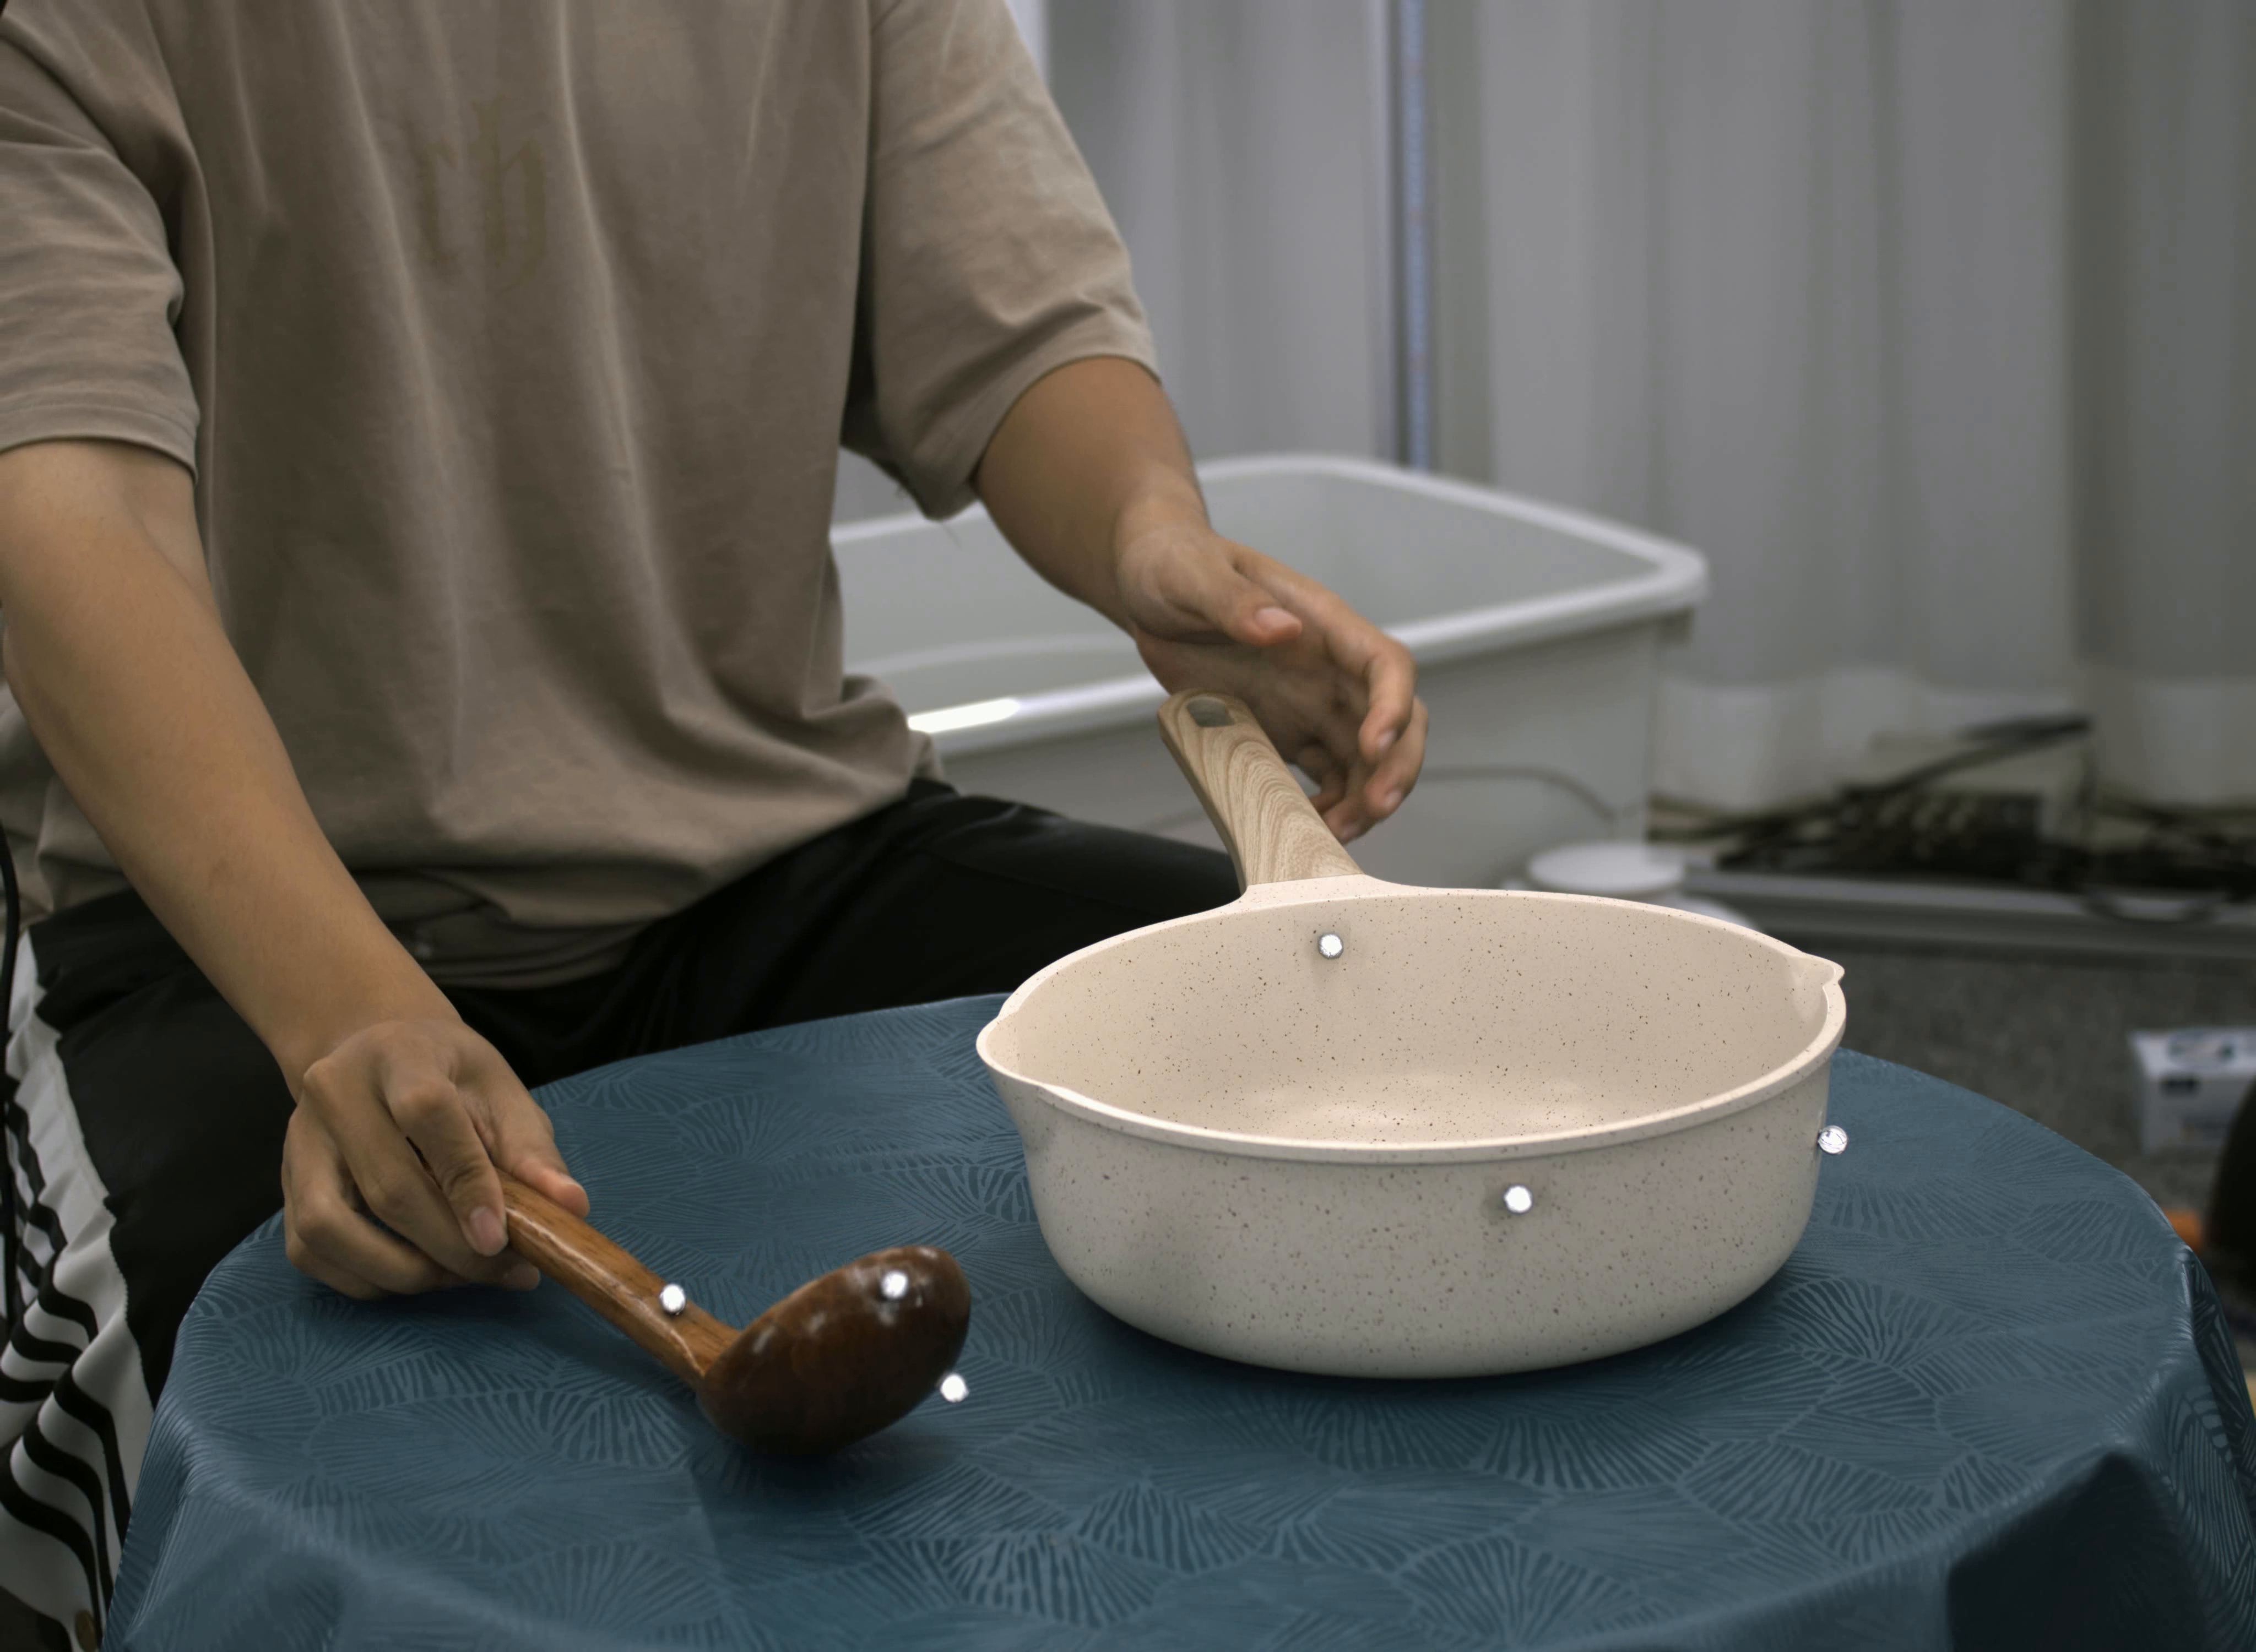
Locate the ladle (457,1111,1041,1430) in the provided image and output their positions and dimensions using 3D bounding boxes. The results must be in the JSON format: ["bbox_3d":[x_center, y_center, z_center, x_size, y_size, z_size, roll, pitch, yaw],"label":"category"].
[{"bbox_3d":[-0.122,0.105,1.573,0.081,0.076,0.276,-9,23,-34],"label":"ladle"}]

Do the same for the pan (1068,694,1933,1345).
[{"bbox_3d":[0.094,0.055,1.713,0.262,0.101,0.438,-7,15,-10],"label":"pan"}]
